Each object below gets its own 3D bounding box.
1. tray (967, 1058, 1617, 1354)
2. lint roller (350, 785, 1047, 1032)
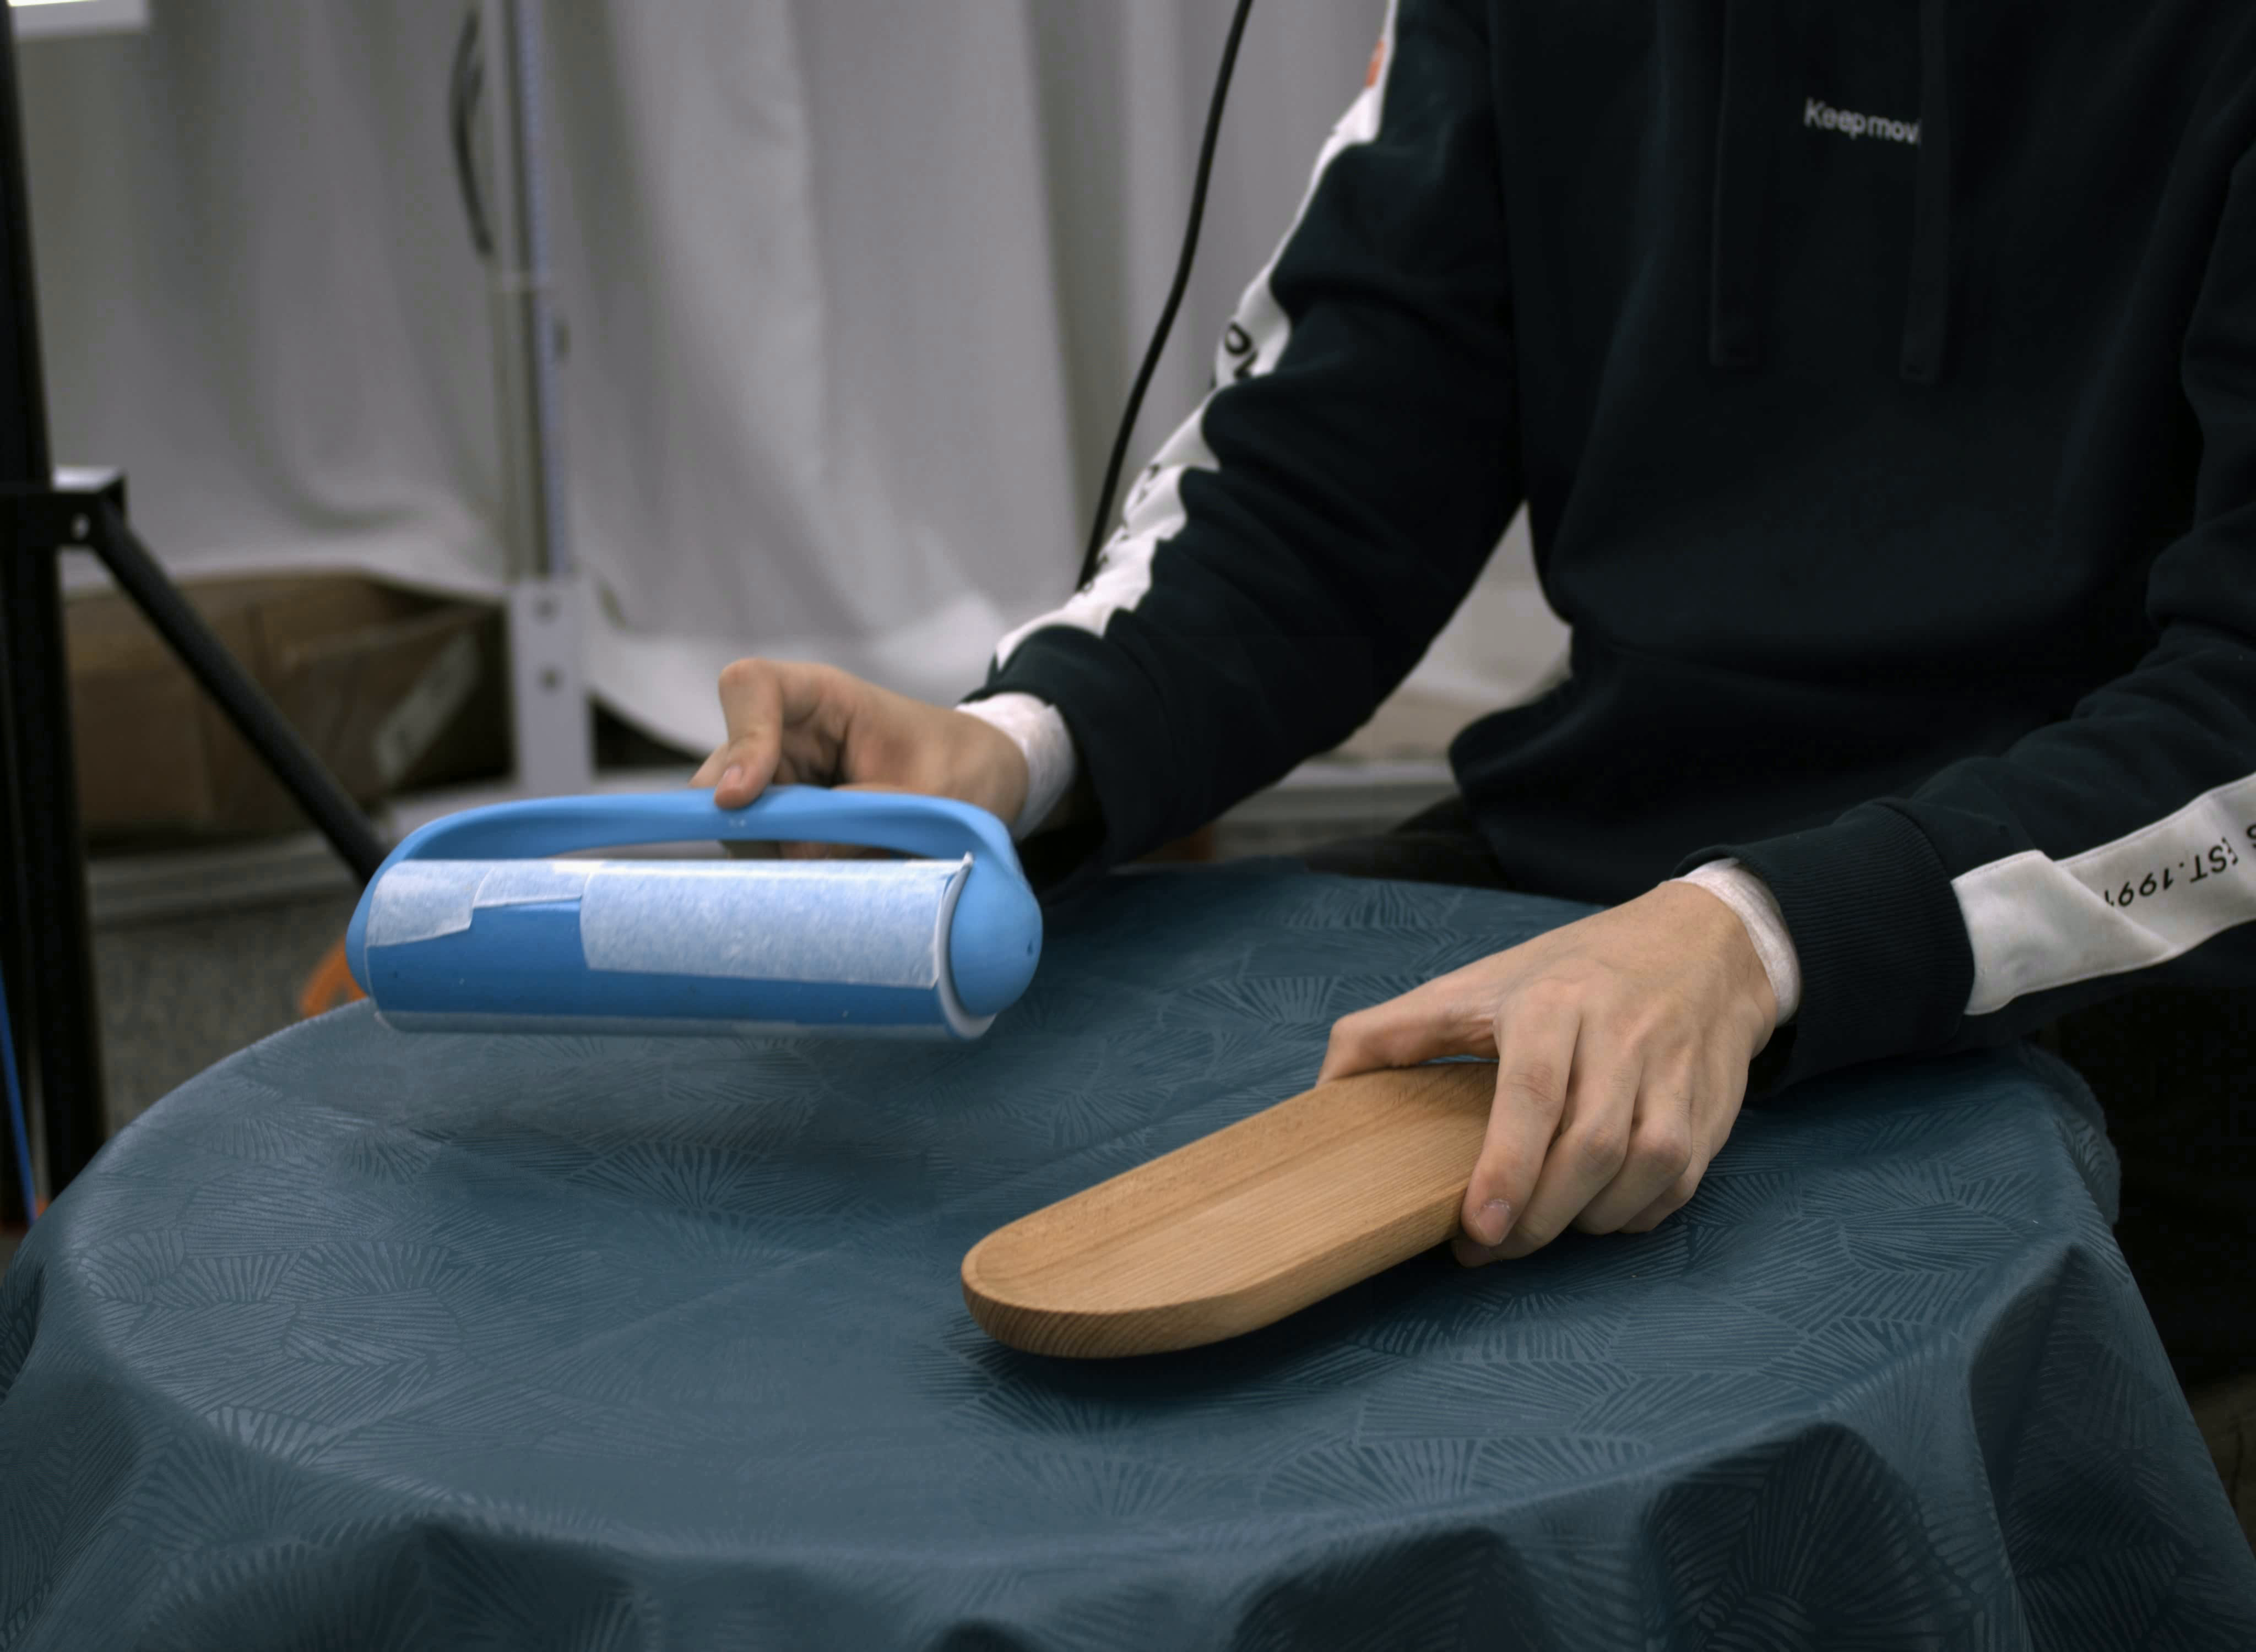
[{"bbox_3d":[0.049,0.104,1.483,0.104,0.020,0.226,9,19,41],"label":"tray"},{"bbox_3d":[-0.113,0.017,1.659,0.232,0.068,0.178,-3,15,22],"label":"lint roller"}]
